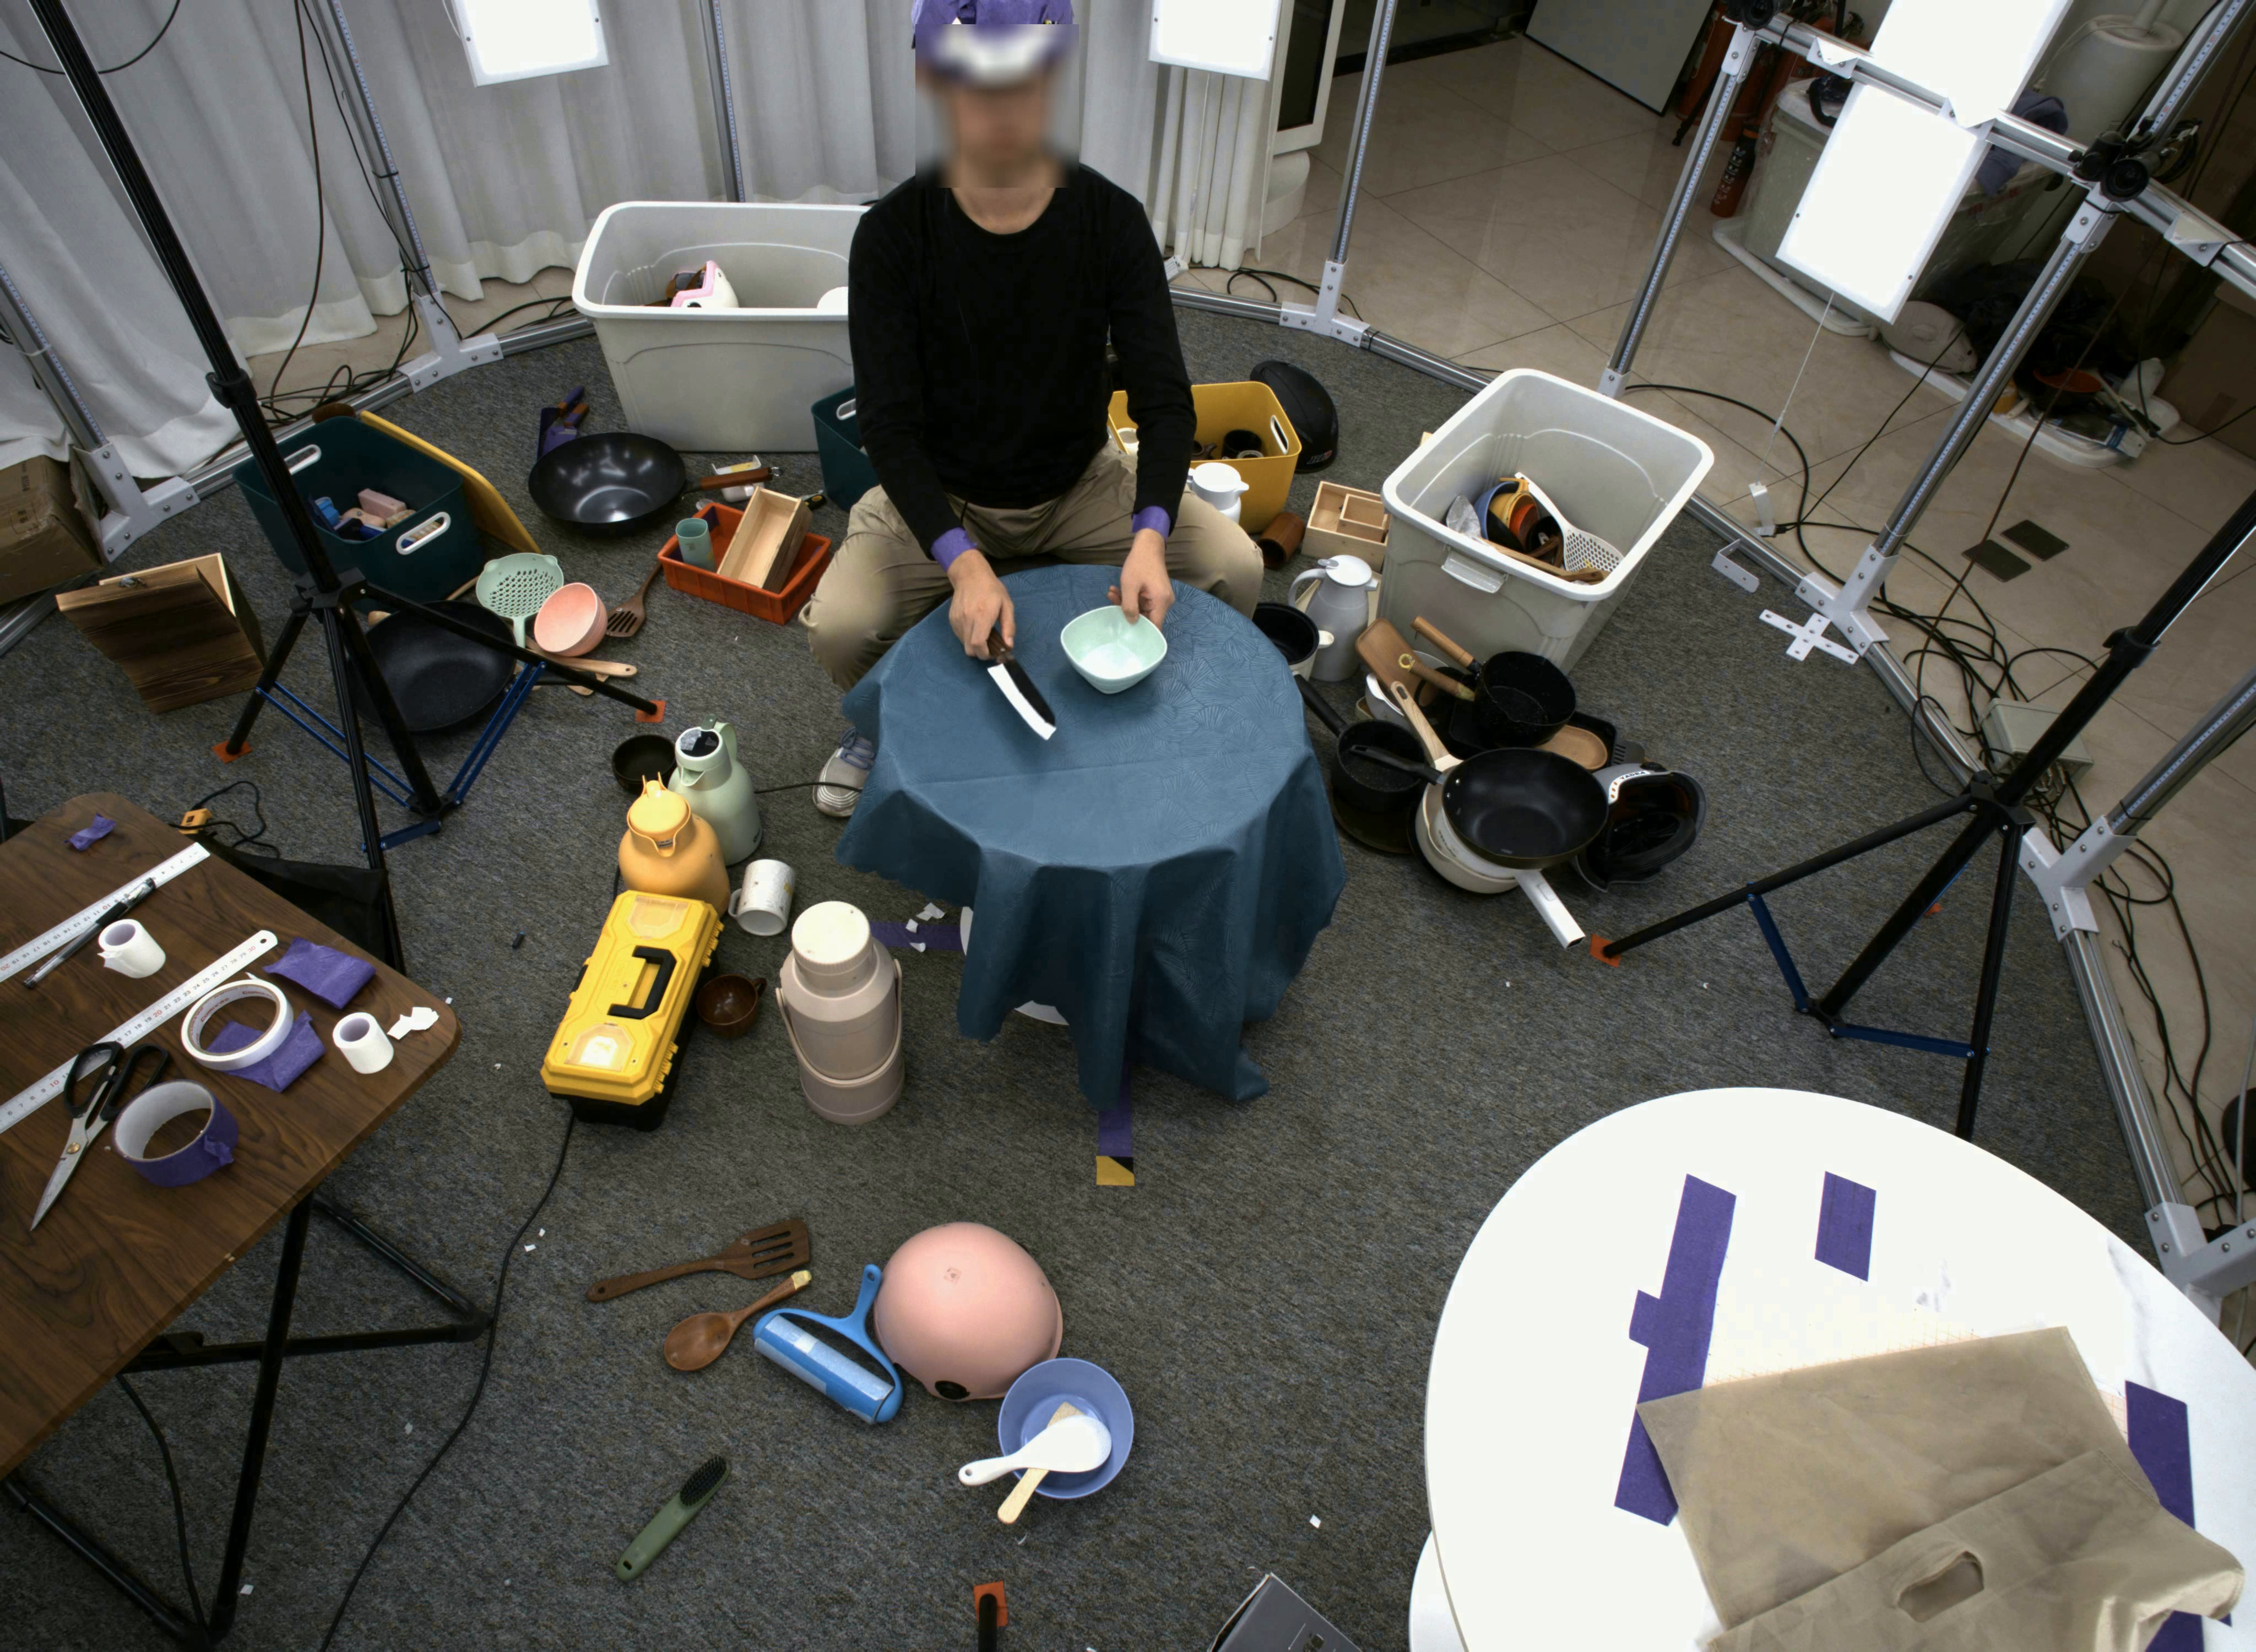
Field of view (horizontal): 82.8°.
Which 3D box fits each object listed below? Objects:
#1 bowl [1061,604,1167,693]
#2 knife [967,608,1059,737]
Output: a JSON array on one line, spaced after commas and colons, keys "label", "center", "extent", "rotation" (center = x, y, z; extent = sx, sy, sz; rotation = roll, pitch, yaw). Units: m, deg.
[{"label": "bowl", "center": [-0.022, -0.245, 1.838], "extent": [0.151, 0.057, 0.155], "rotation": [2, 52, -3]}, {"label": "knife", "center": [-0.163, -0.216, 1.791], "extent": [0.050, 0.019, 0.296], "rotation": [-20, 49, -15]}]
